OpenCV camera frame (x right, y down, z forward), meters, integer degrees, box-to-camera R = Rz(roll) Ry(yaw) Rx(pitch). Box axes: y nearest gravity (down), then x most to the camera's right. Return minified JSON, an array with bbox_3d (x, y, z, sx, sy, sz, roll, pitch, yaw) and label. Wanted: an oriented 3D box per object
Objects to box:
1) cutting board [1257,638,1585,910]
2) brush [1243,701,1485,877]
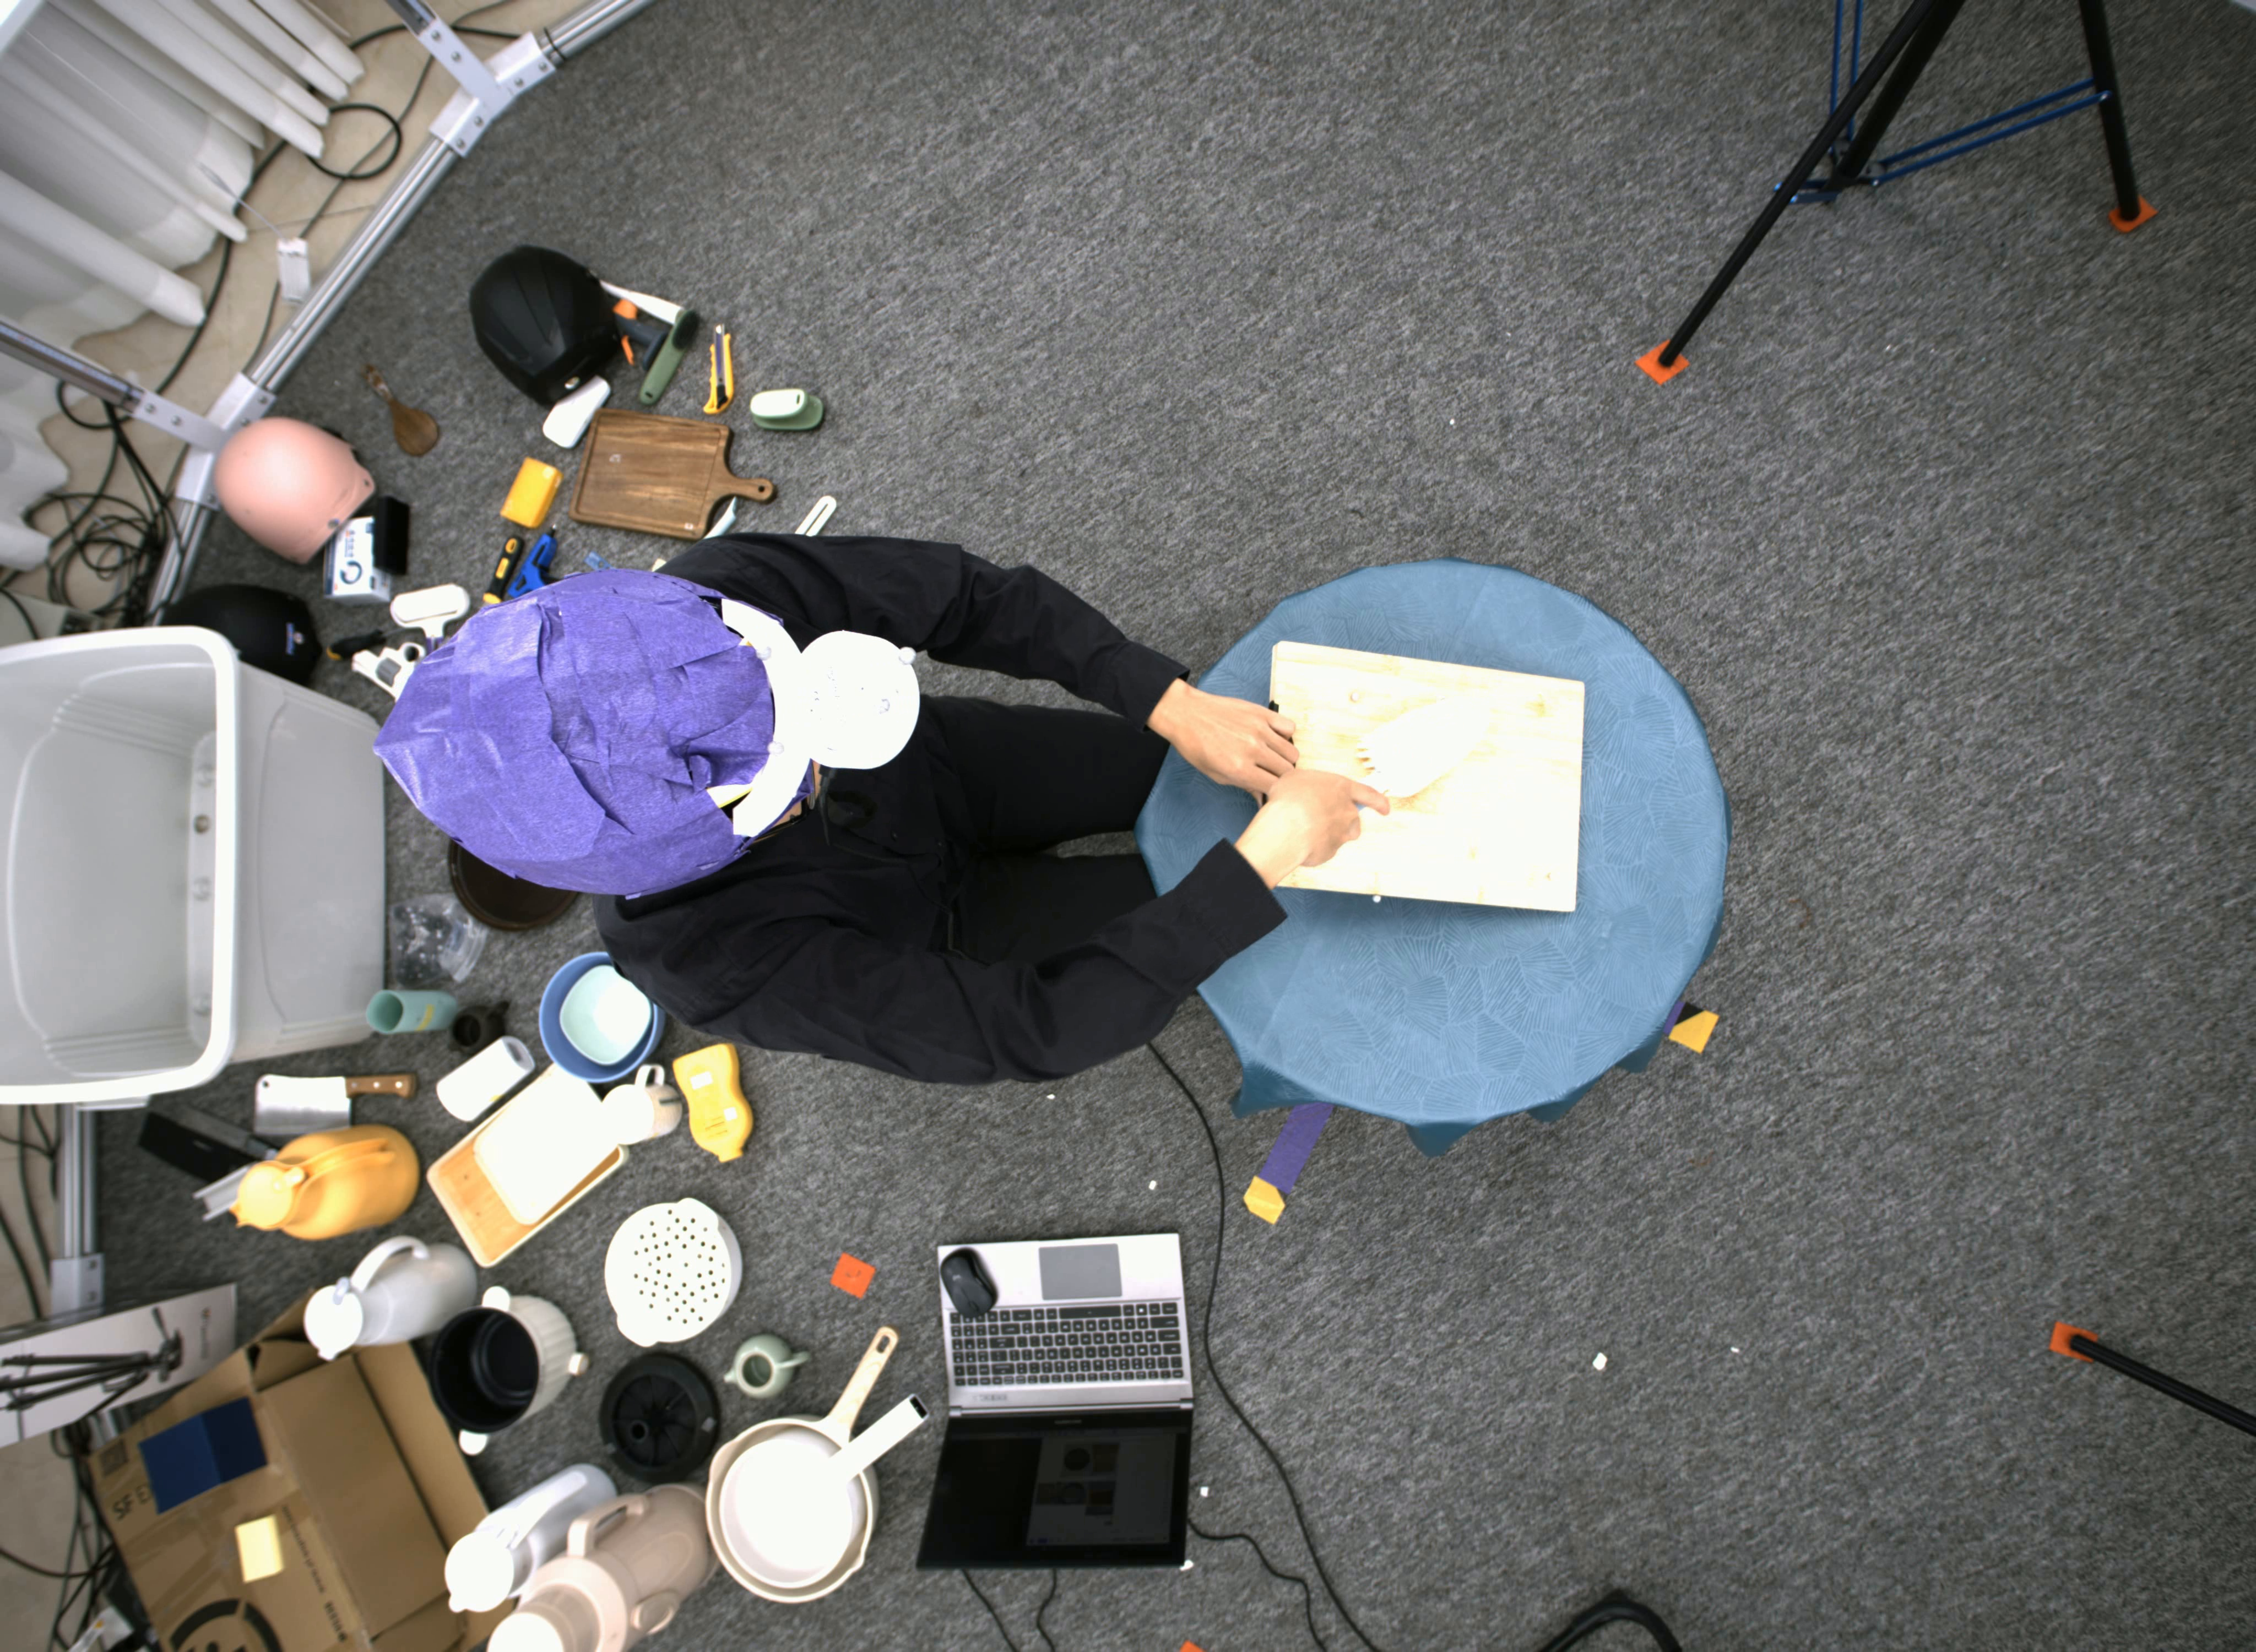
[{"bbox_3d":[0.300,-0.050,1.383,0.348,0.024,0.249,3,87,-13],"label":"cutting board"},{"bbox_3d":[0.211,-0.038,1.308,0.320,0.087,0.082,-32,58,-25],"label":"brush"}]
